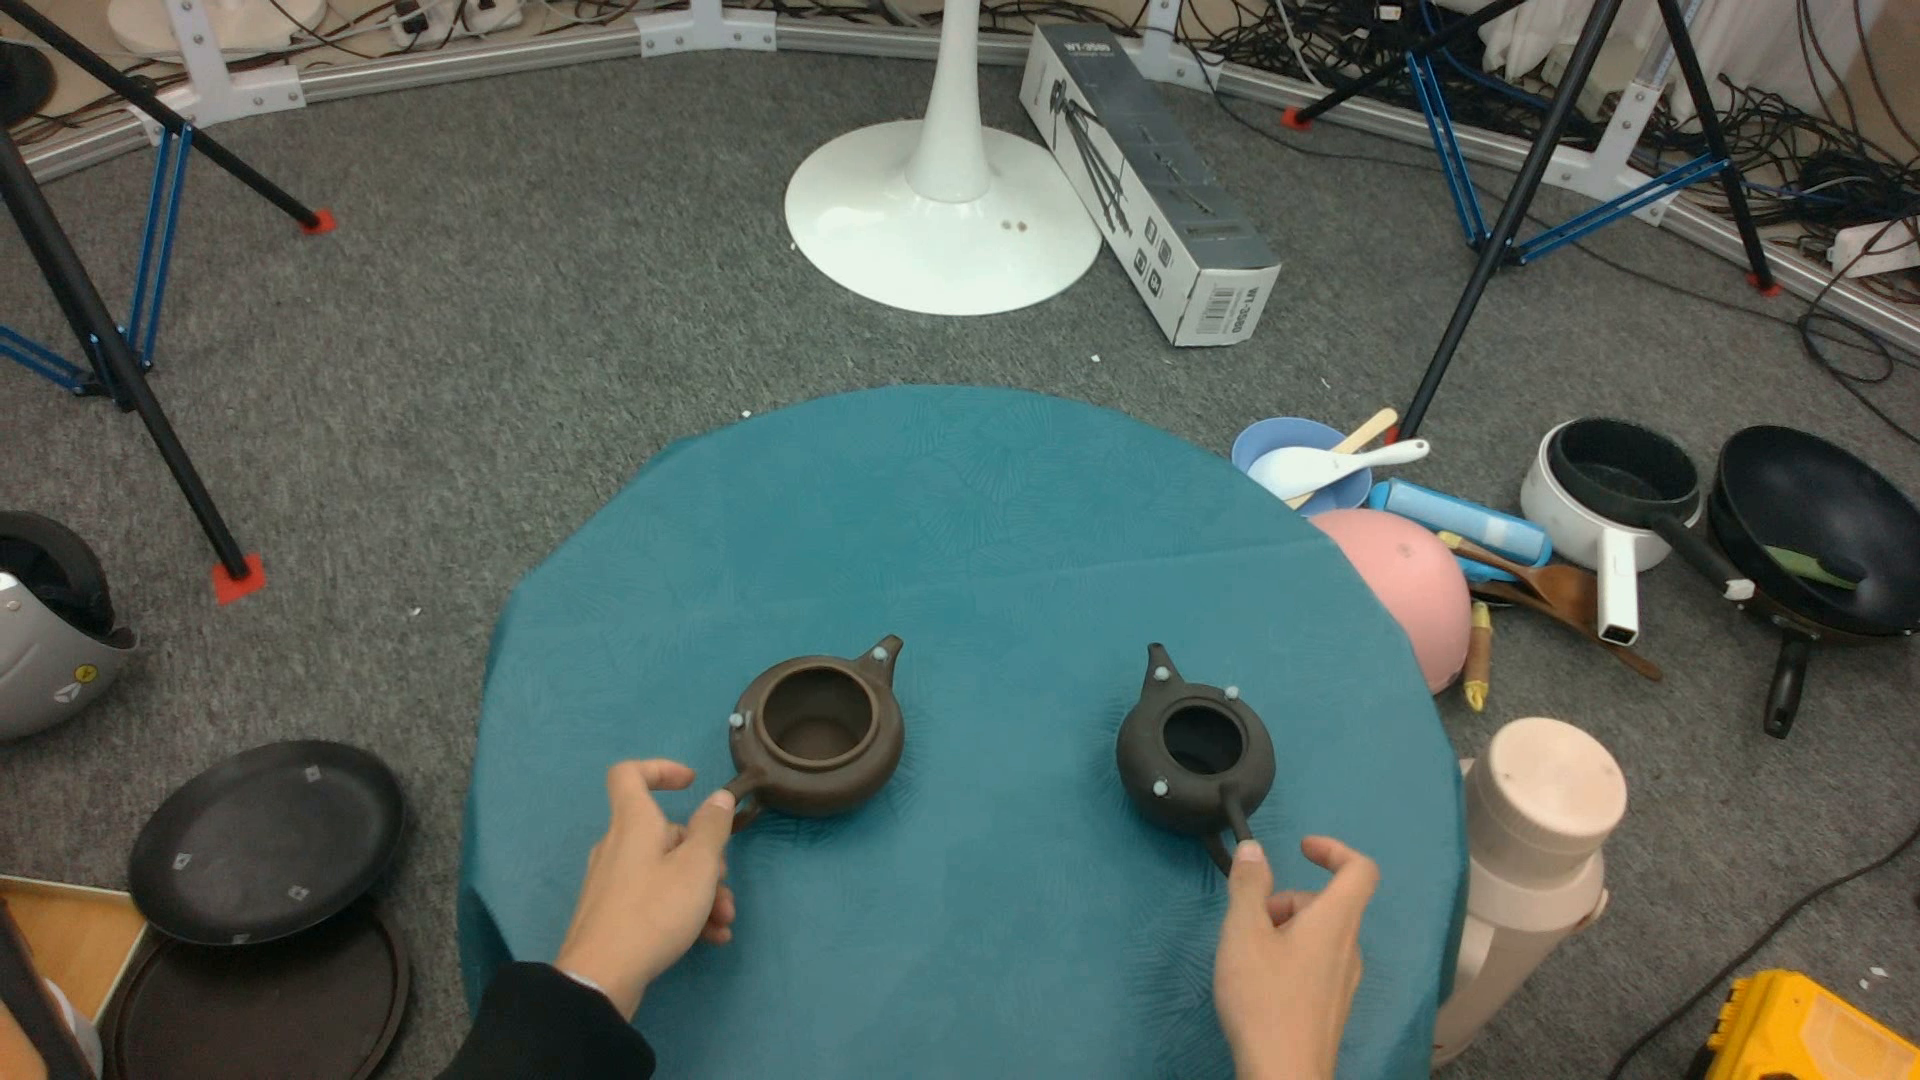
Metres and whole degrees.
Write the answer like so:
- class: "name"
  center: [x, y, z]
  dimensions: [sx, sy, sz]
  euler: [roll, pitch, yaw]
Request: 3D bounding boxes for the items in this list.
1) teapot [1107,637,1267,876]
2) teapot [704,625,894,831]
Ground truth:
- class: "teapot"
  center: [0.133, 0.127, 0.809]
  dimensions: [0.092, 0.064, 0.155]
  euler: [-10, 51, -13]
- class: "teapot"
  center: [-0.092, 0.111, 0.799]
  dimensions: [0.102, 0.053, 0.154]
  euler: [28, 51, 19]
